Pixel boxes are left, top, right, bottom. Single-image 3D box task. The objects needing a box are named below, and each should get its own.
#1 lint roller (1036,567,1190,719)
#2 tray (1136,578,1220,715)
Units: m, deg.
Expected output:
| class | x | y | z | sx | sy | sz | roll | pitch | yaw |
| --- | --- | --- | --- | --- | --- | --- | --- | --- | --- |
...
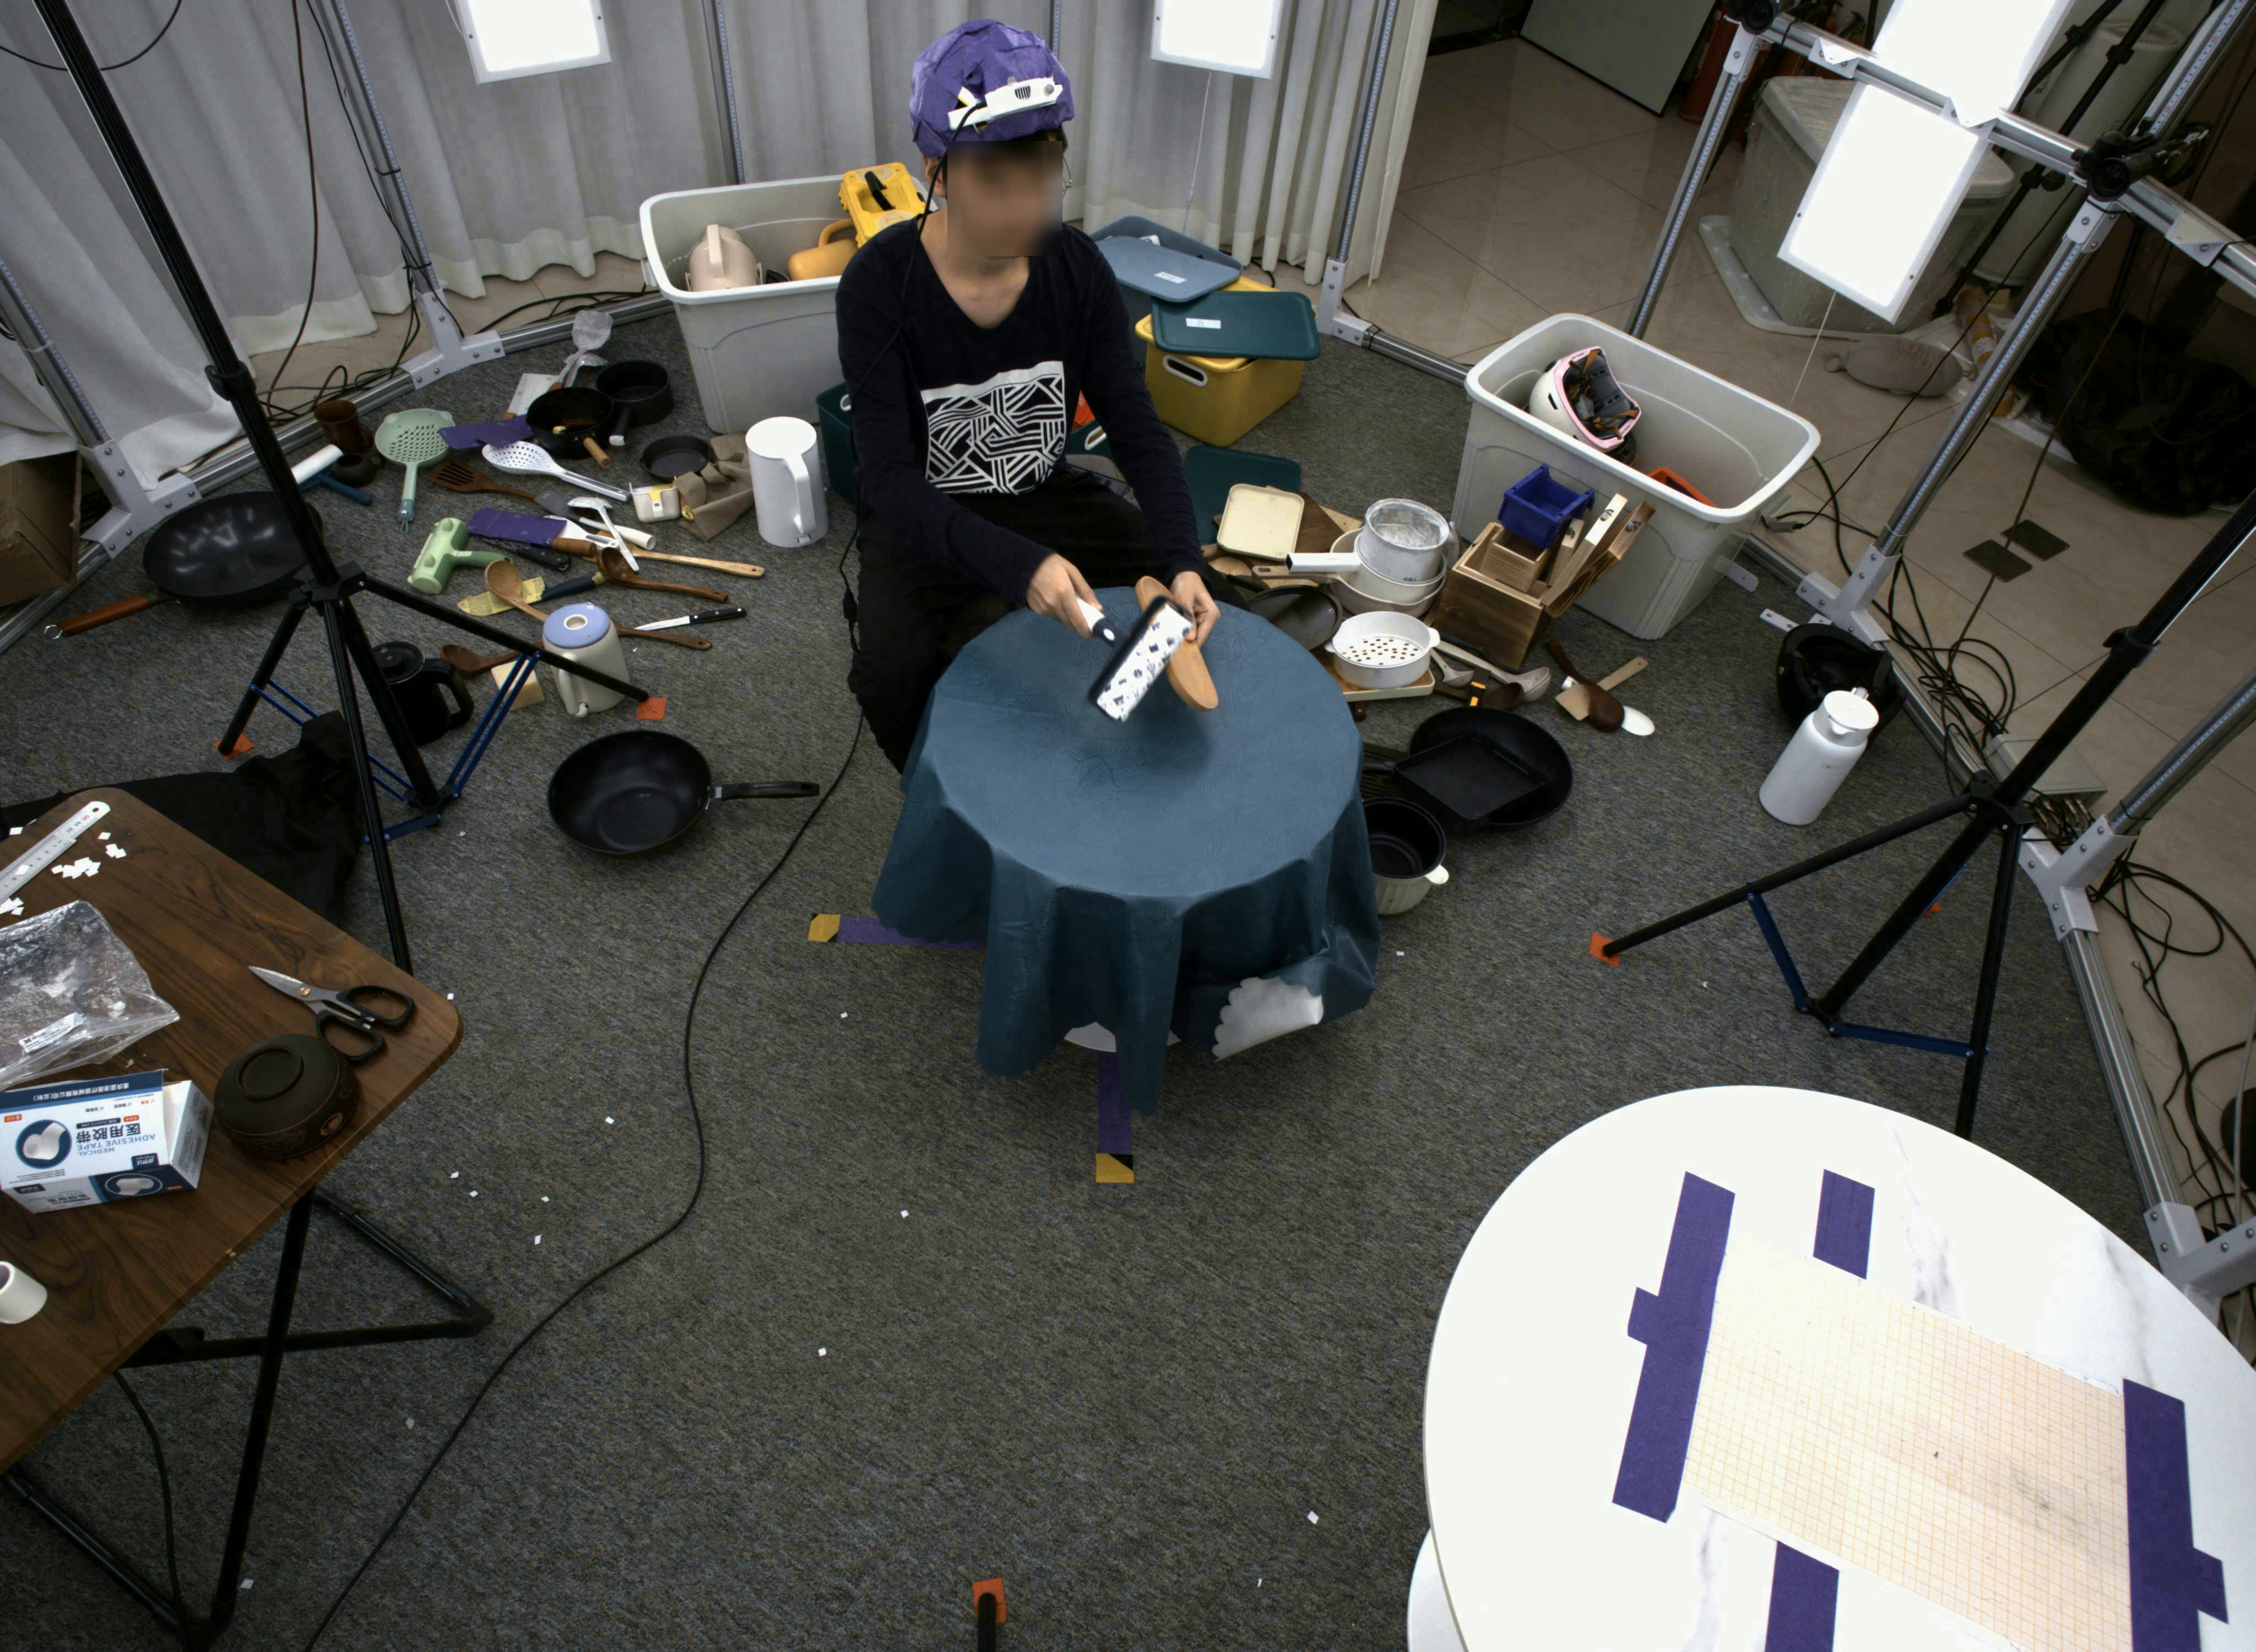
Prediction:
| class | x | y | z | sx | sy | sz | roll | pitch | yaw |
| --- | --- | --- | --- | --- | --- | --- | --- | --- | --- |
| lint roller | -0.048 | -0.282 | 1.748 | 0.251 | 0.175 | 0.050 | 41 | 14 | 27 |
| tray | 0.068 | -0.249 | 1.773 | 0.100 | 0.020 | 0.236 | 17 | 45 | -46 |
